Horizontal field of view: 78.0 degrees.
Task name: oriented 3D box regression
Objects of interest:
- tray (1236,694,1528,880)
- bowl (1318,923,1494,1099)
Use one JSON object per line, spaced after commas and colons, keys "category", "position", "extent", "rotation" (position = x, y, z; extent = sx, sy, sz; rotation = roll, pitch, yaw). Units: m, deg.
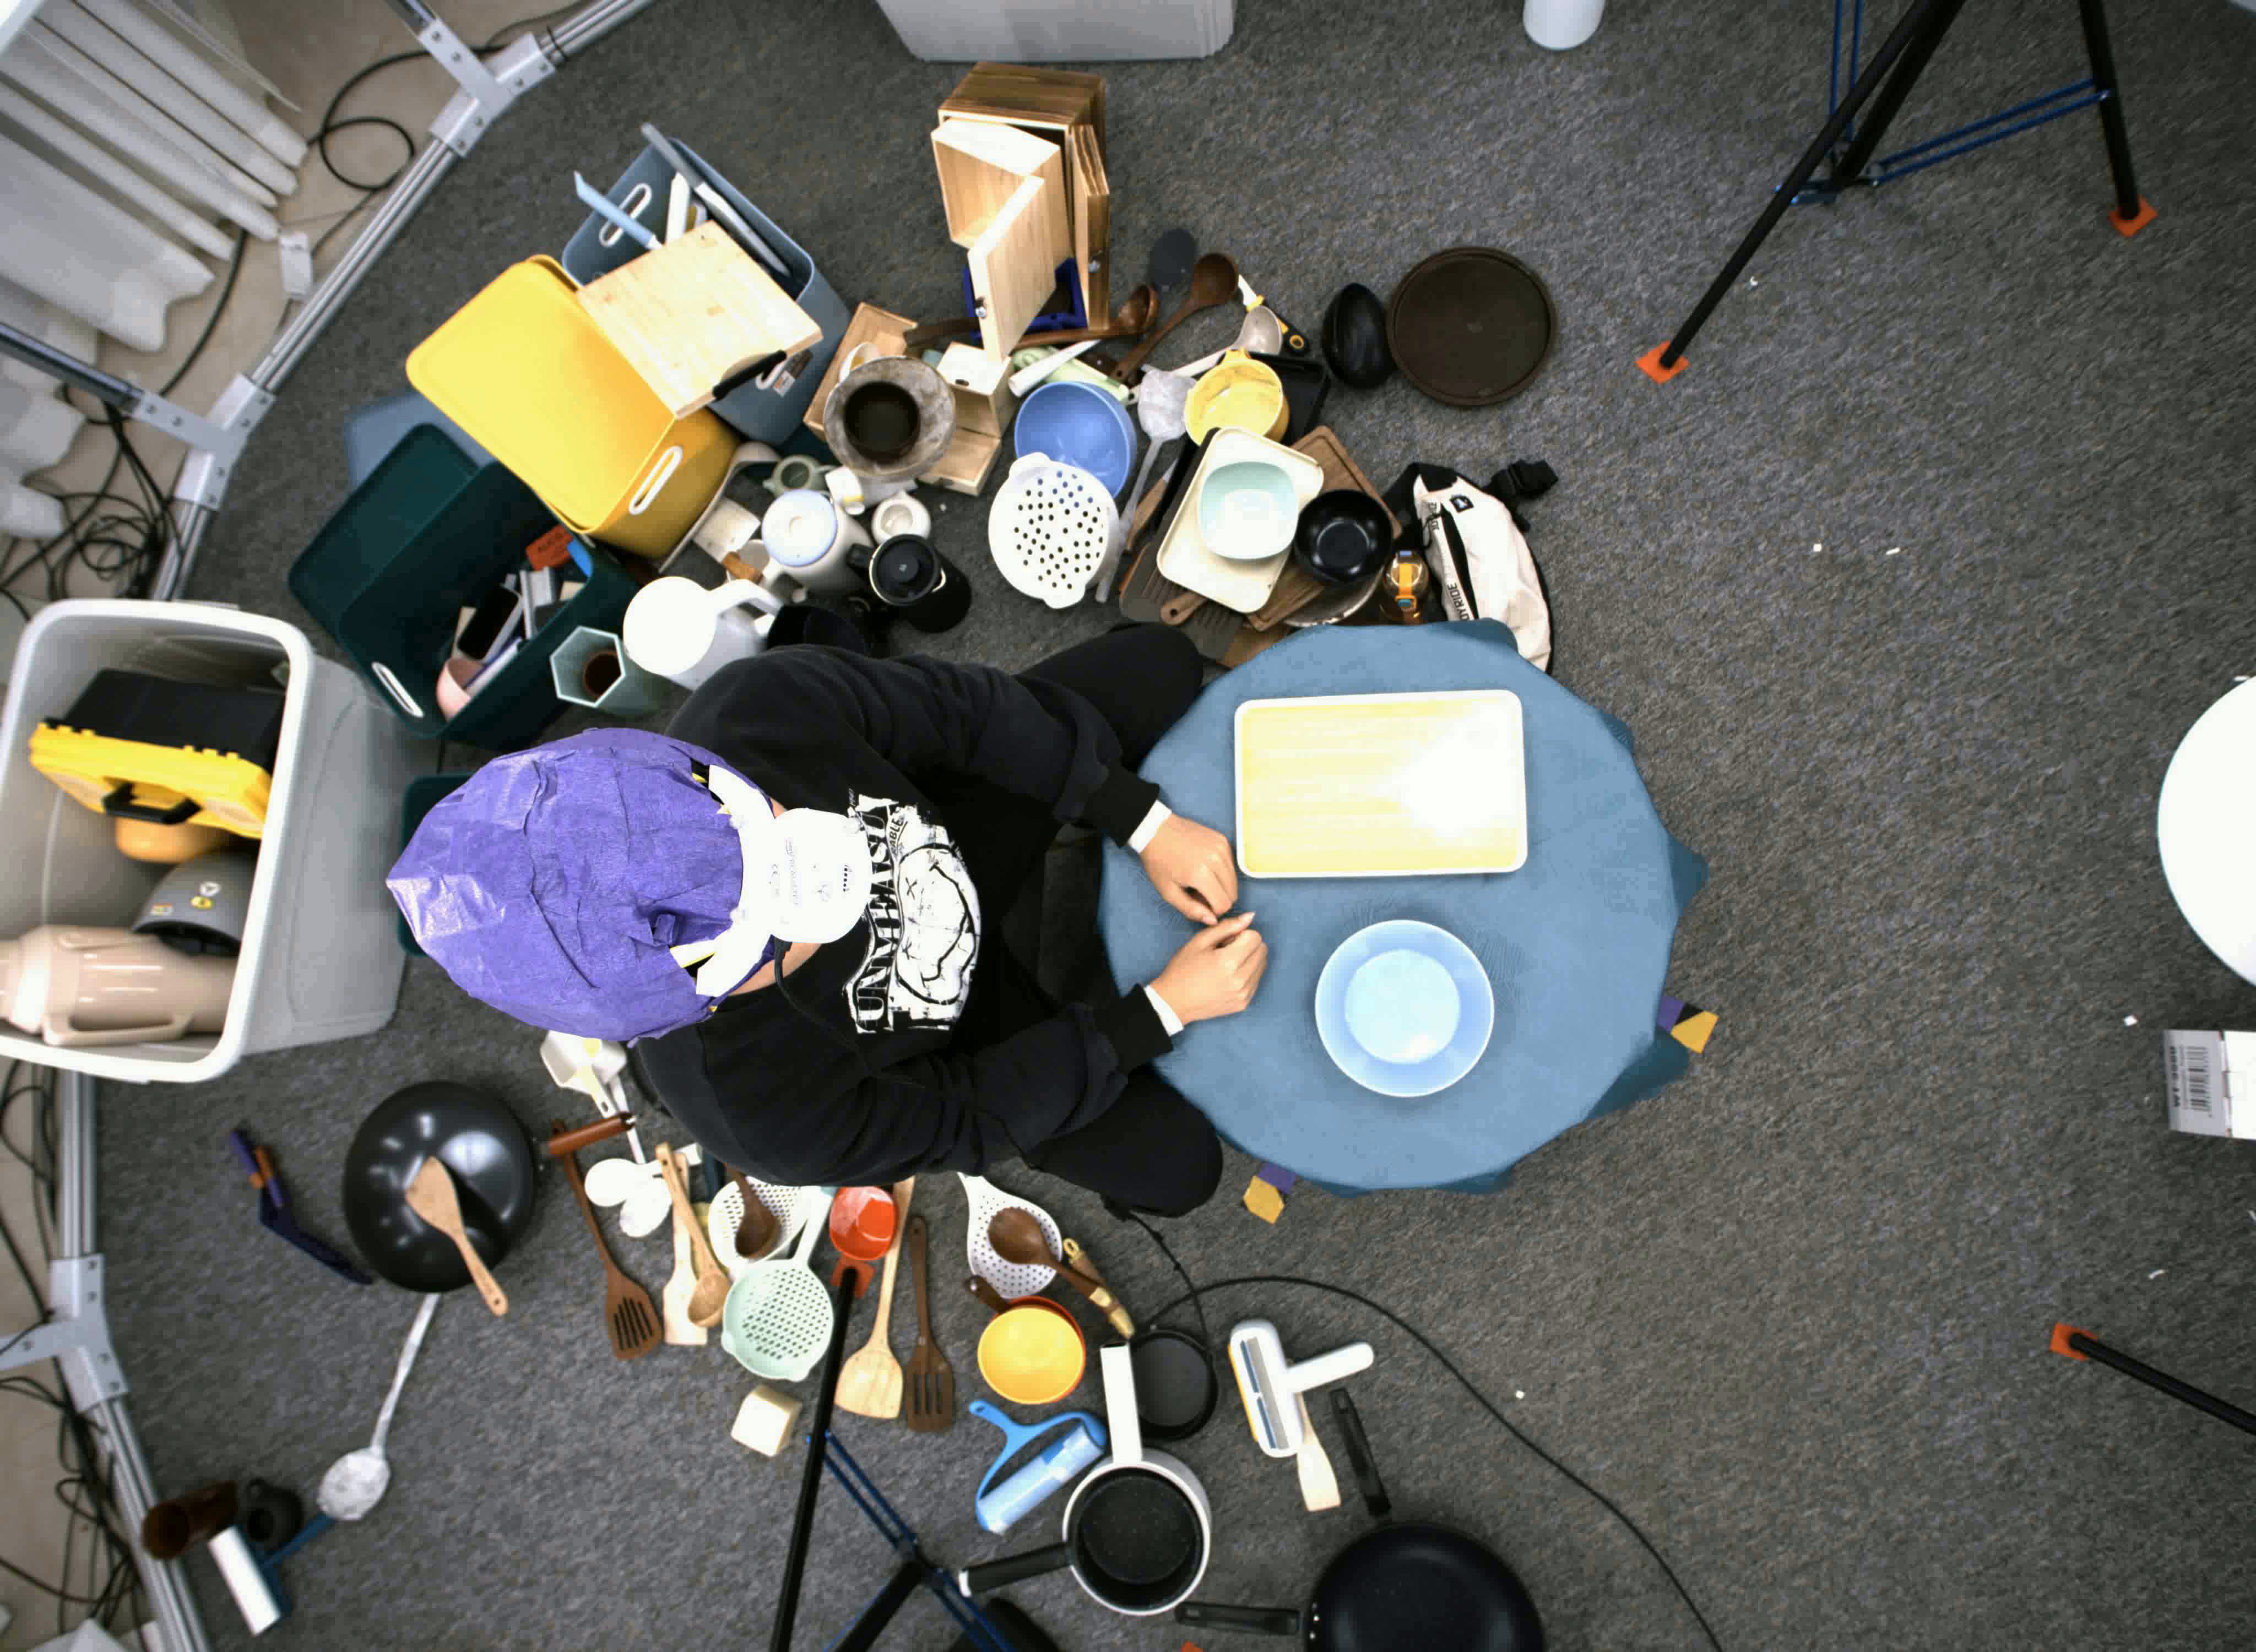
{"category": "tray", "position": [0.267, -0.041, 1.460], "extent": [0.301, 0.027, 0.190], "rotation": [-2, 86, 10]}
{"category": "bowl", "position": [0.283, 0.188, 1.418], "extent": [0.177, 0.070, 0.175], "rotation": [-1, 85, 9]}
